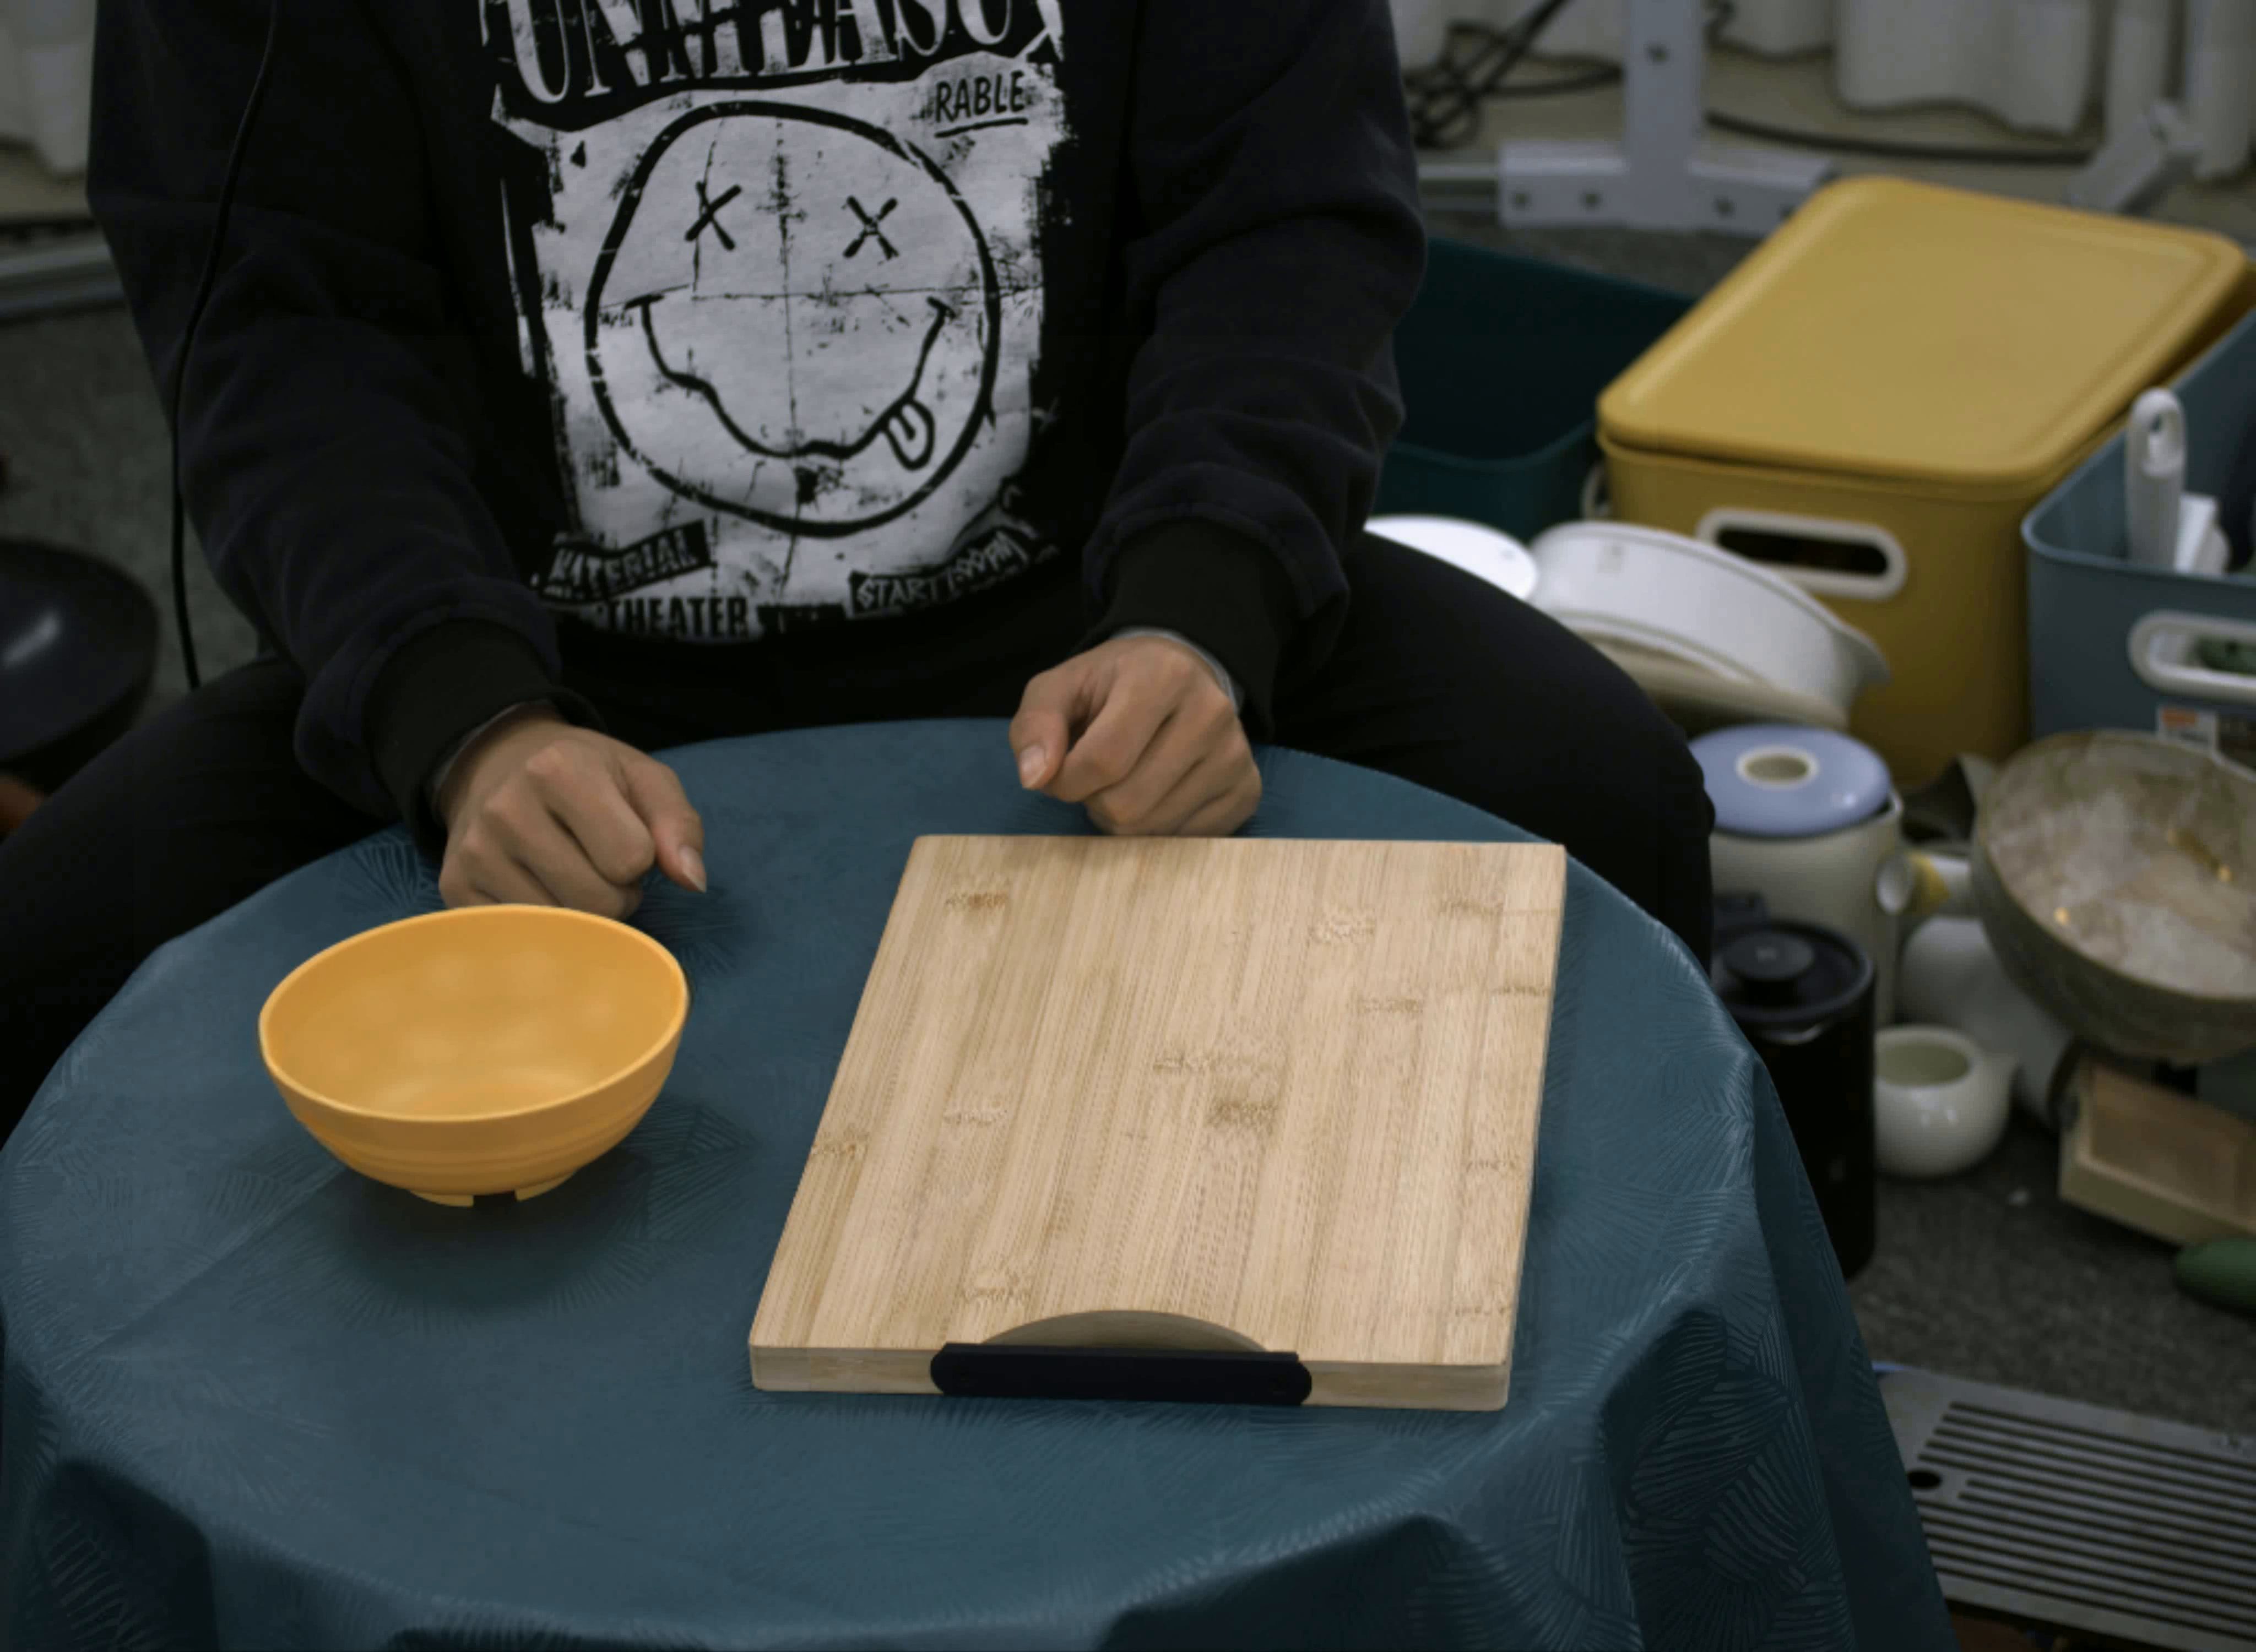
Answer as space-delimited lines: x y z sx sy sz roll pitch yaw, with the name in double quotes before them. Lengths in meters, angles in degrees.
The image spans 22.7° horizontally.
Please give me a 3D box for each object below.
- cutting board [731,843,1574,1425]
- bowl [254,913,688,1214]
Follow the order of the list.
"cutting board" 0.018 0.096 1.891 0.249 0.023 0.354 0 27 7
"bowl" -0.219 0.089 1.887 0.144 0.059 0.147 0 26 0
